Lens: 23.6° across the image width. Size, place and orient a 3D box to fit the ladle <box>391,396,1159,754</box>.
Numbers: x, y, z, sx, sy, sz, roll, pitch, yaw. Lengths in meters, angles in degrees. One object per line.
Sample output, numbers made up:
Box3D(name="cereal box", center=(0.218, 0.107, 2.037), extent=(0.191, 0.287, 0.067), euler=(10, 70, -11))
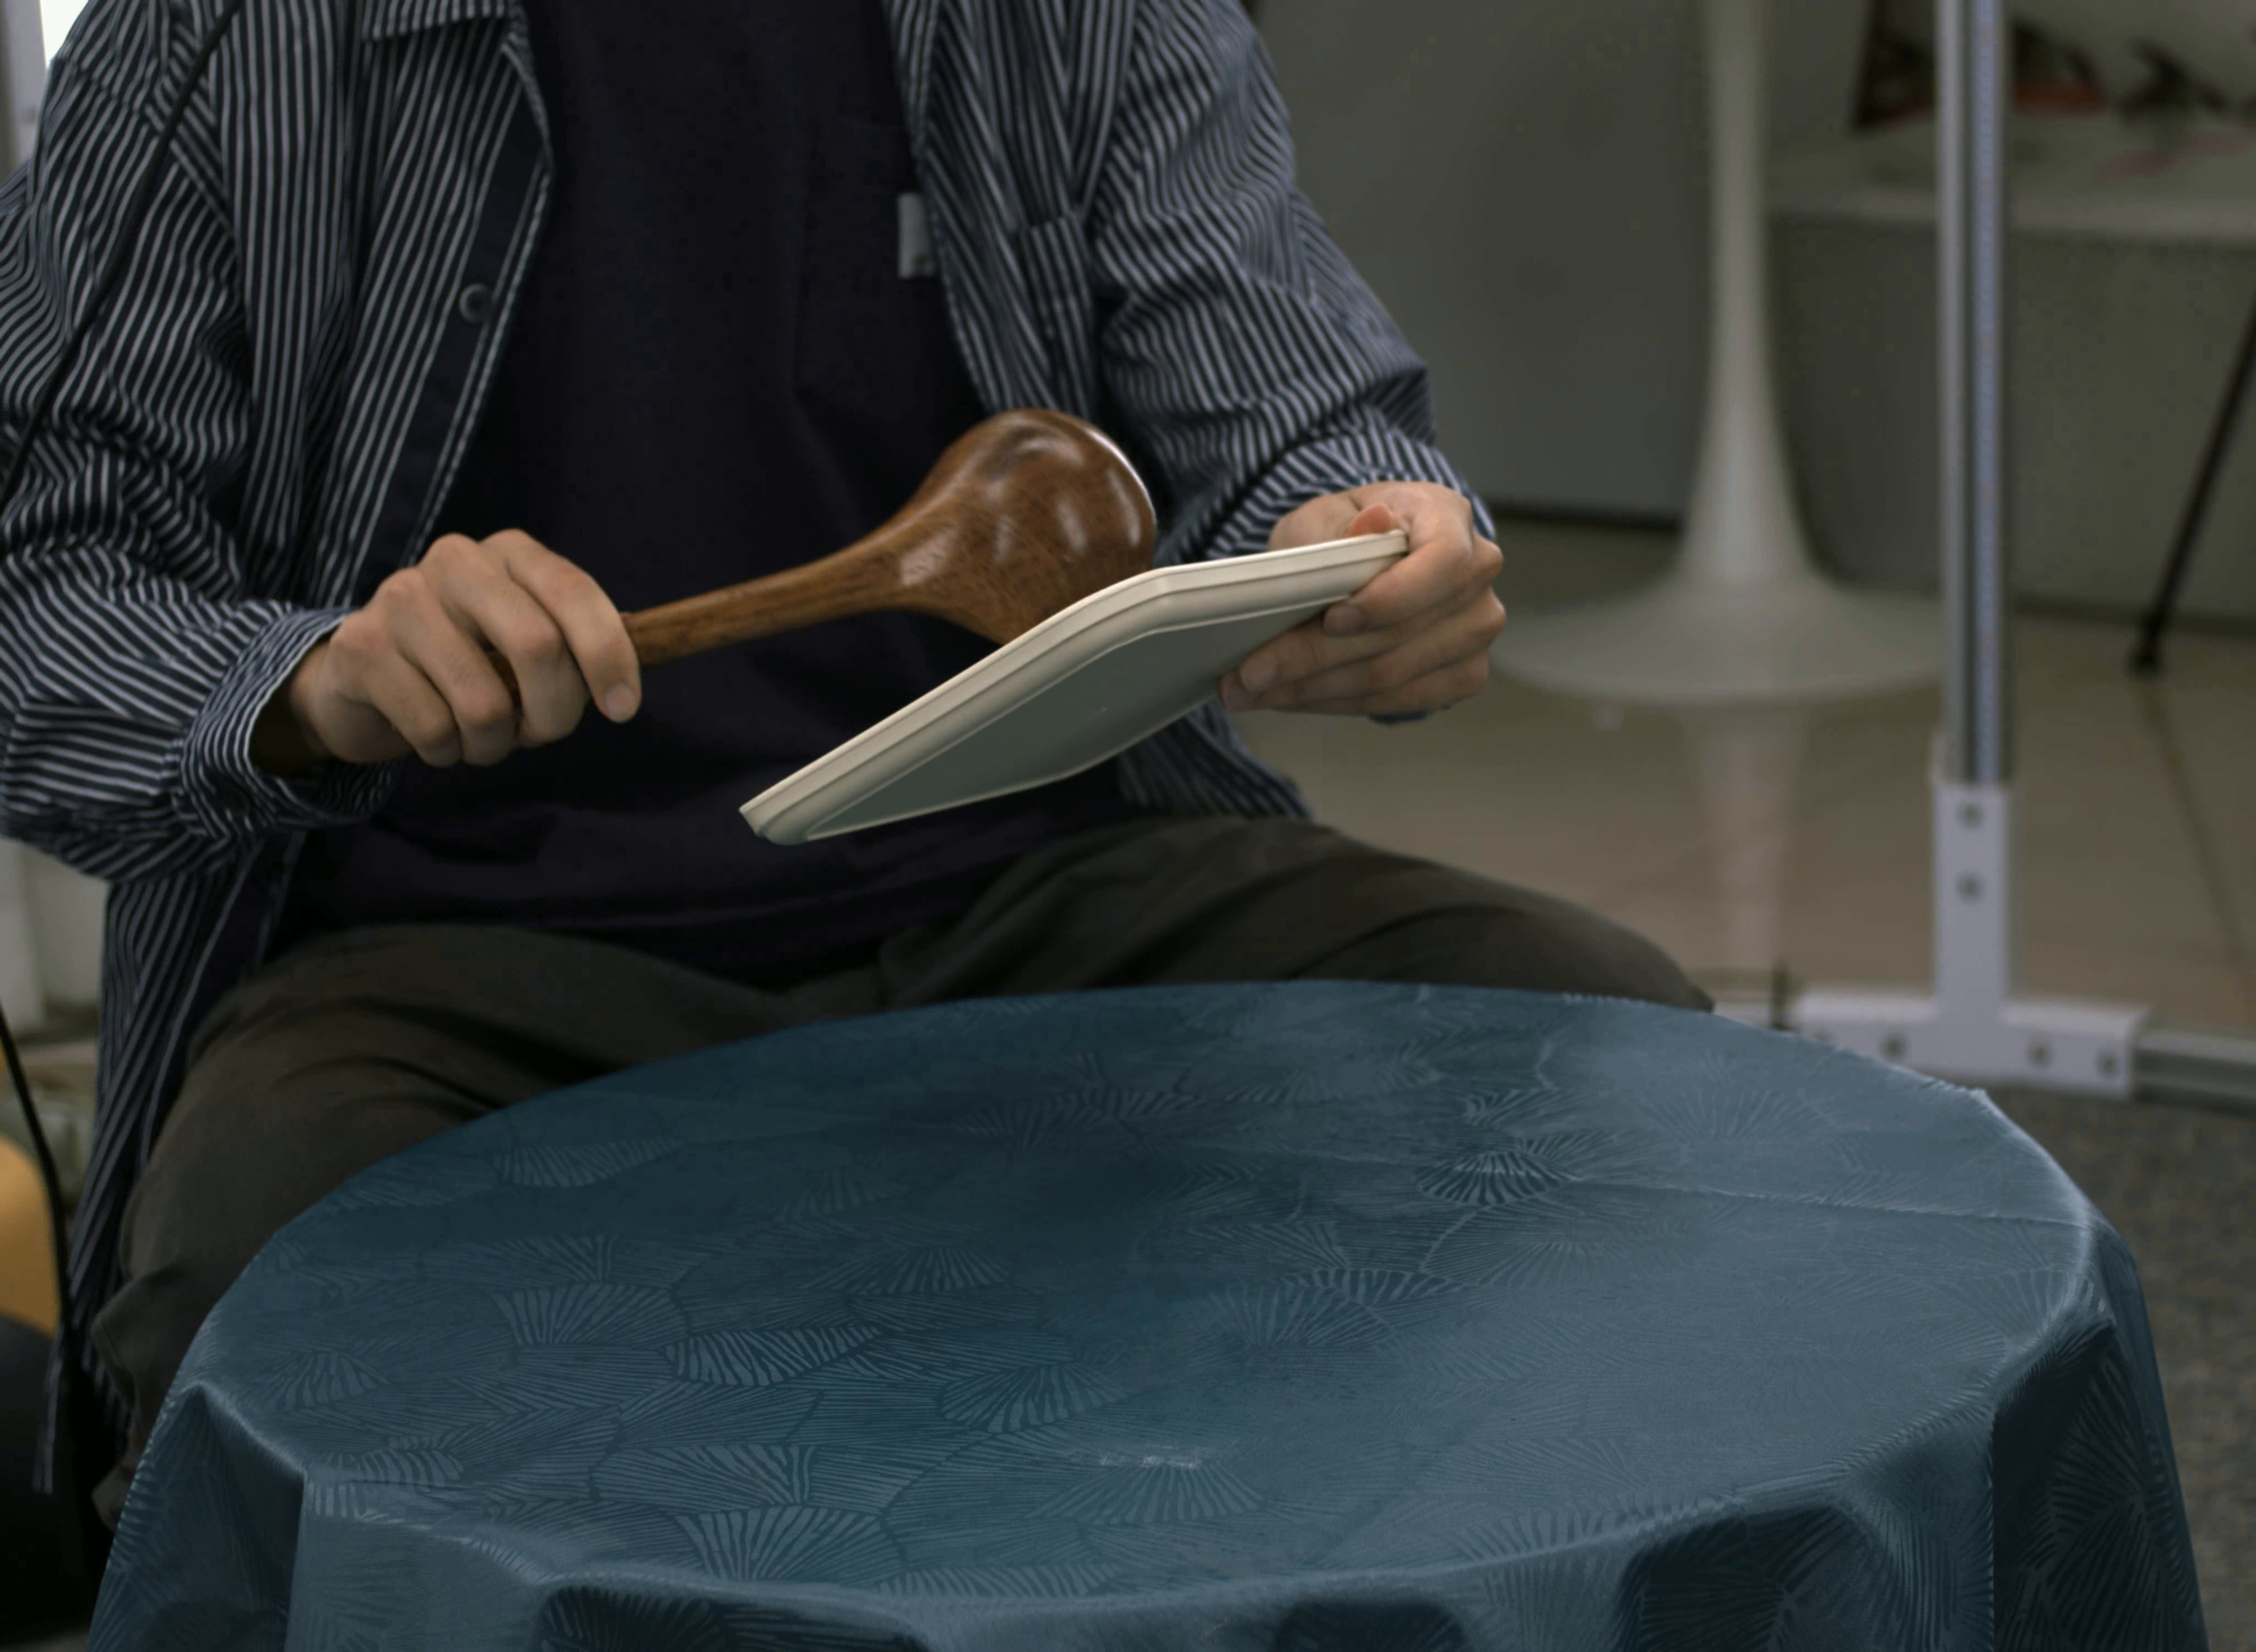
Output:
Box3D(name="ladle", center=(-0.118, -0.074, 1.817), extent=(0.275, 0.083, 0.075), euler=(-16, -7, 26))

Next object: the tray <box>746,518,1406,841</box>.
Box3D(name="tray", center=(-0.011, -0.046, 1.752), extent=(0.172, 0.017, 0.236), euler=(-32, -8, 27))
